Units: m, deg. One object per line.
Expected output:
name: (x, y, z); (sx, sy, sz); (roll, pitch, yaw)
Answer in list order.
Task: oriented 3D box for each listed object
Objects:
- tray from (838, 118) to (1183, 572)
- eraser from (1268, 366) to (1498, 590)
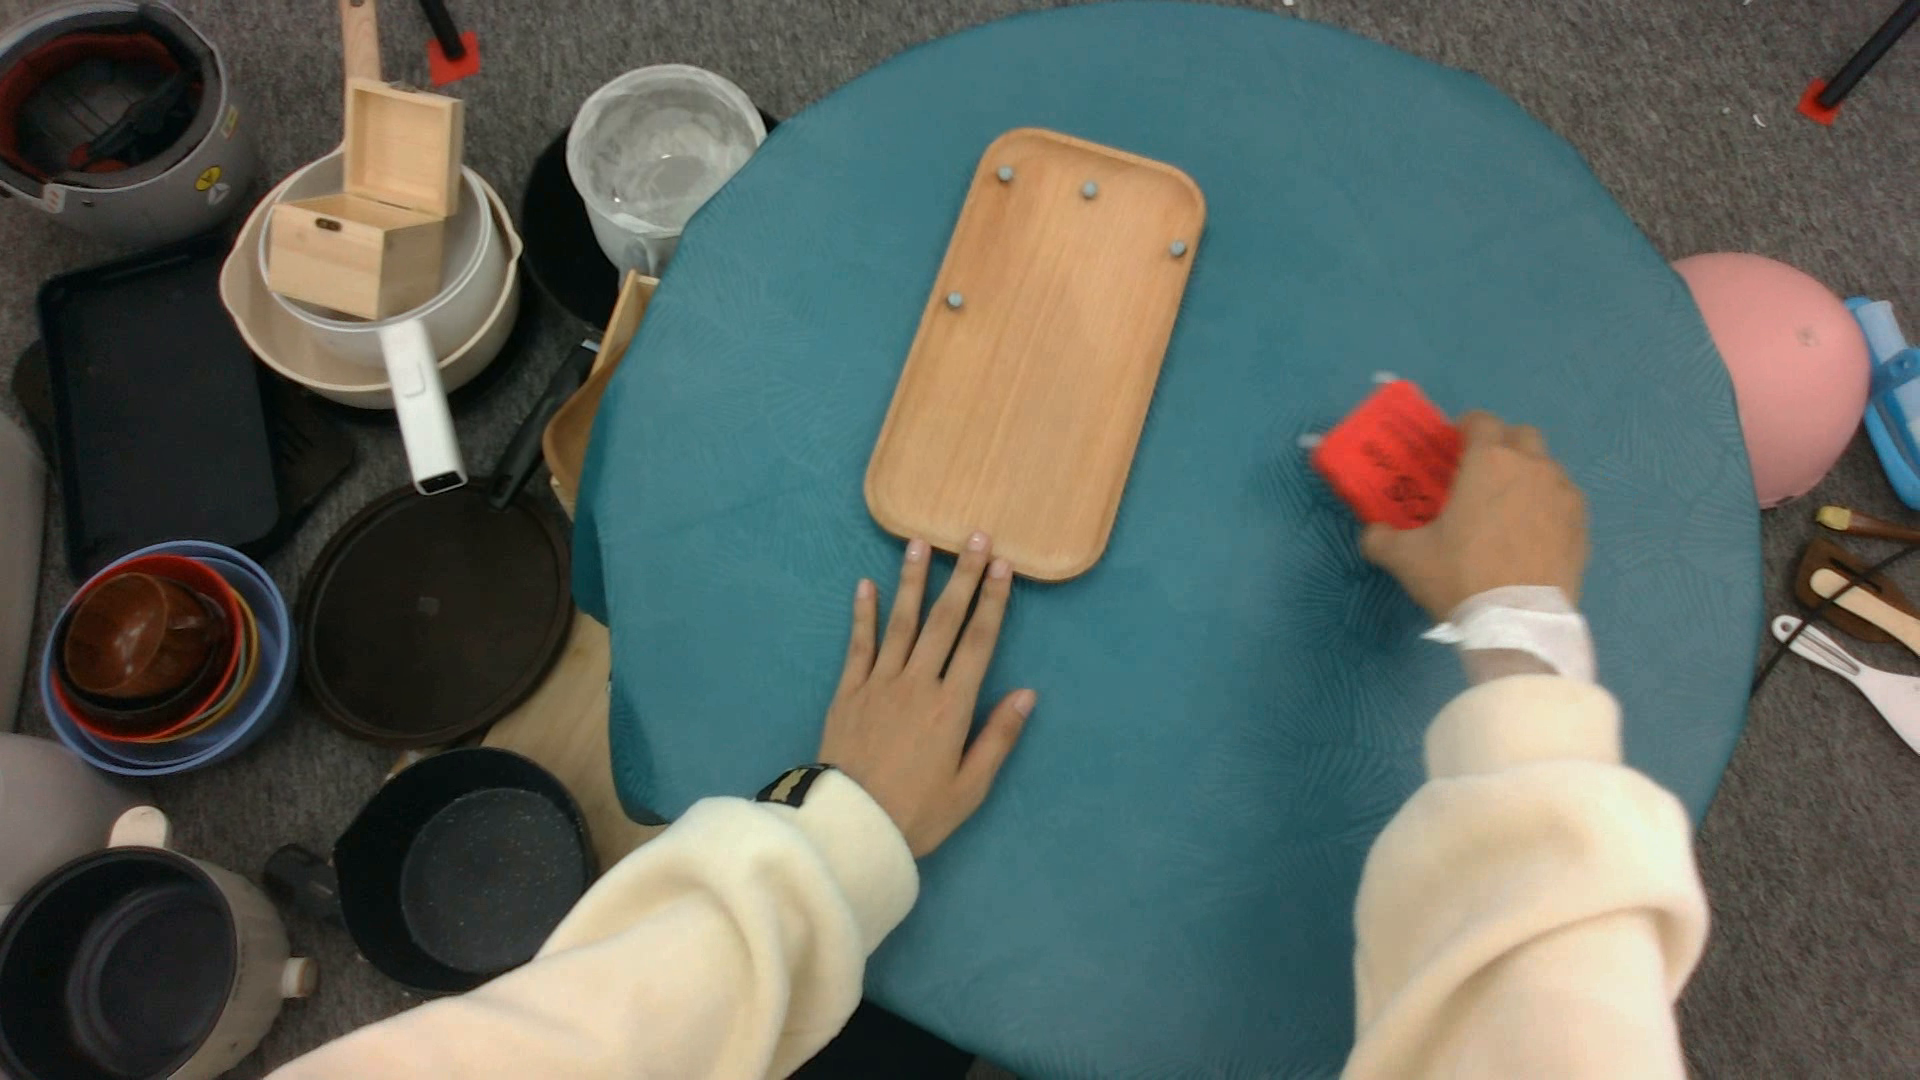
tray: (0.030, -0.107, 0.722); (0.130, 0.023, 0.251); (17, 71, 6)
eraser: (0.208, -0.030, 0.679); (0.108, 0.023, 0.059); (45, 84, 1)
